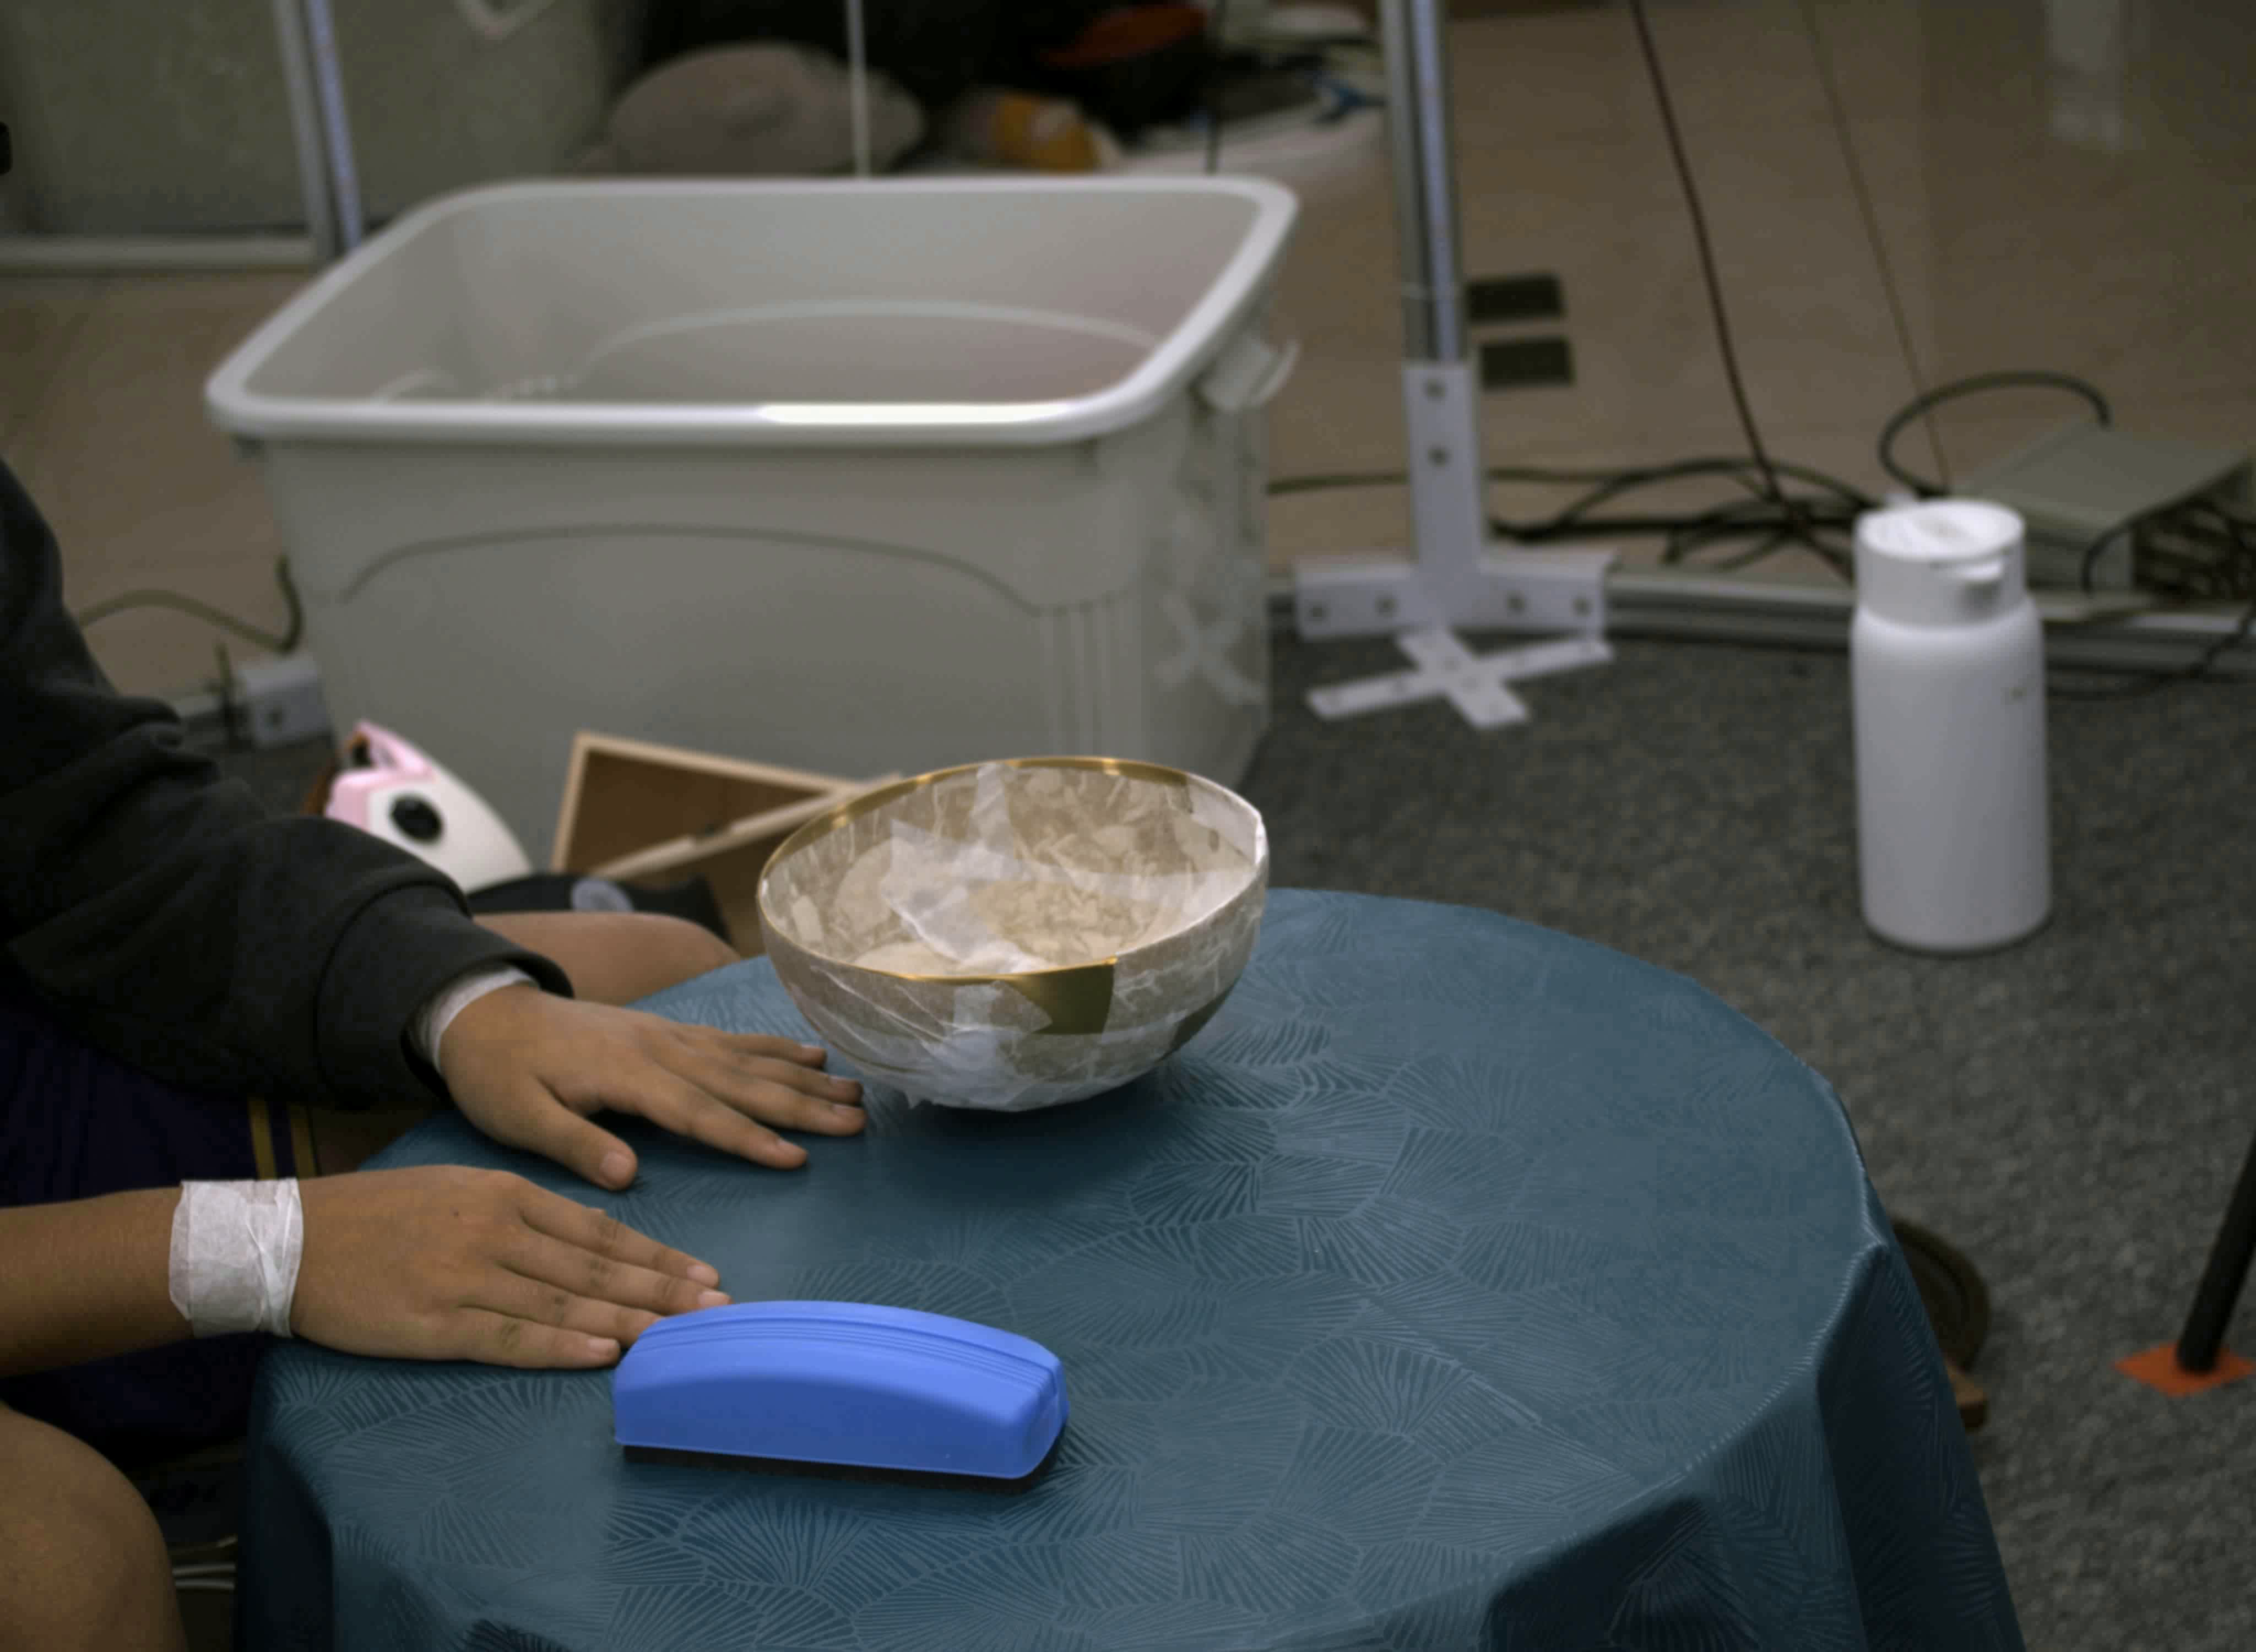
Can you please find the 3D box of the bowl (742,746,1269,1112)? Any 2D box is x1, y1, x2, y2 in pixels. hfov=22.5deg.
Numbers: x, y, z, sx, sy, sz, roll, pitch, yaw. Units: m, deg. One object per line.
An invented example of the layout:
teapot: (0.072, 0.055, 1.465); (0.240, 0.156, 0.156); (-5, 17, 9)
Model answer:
bowl: (-0.045, 0.053, 2.231); (0.214, 0.096, 0.211); (-5, 26, 3)

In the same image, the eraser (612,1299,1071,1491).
eraser: (-0.102, 0.197, 1.993); (0.162, 0.048, 0.053); (2, 29, 19)
